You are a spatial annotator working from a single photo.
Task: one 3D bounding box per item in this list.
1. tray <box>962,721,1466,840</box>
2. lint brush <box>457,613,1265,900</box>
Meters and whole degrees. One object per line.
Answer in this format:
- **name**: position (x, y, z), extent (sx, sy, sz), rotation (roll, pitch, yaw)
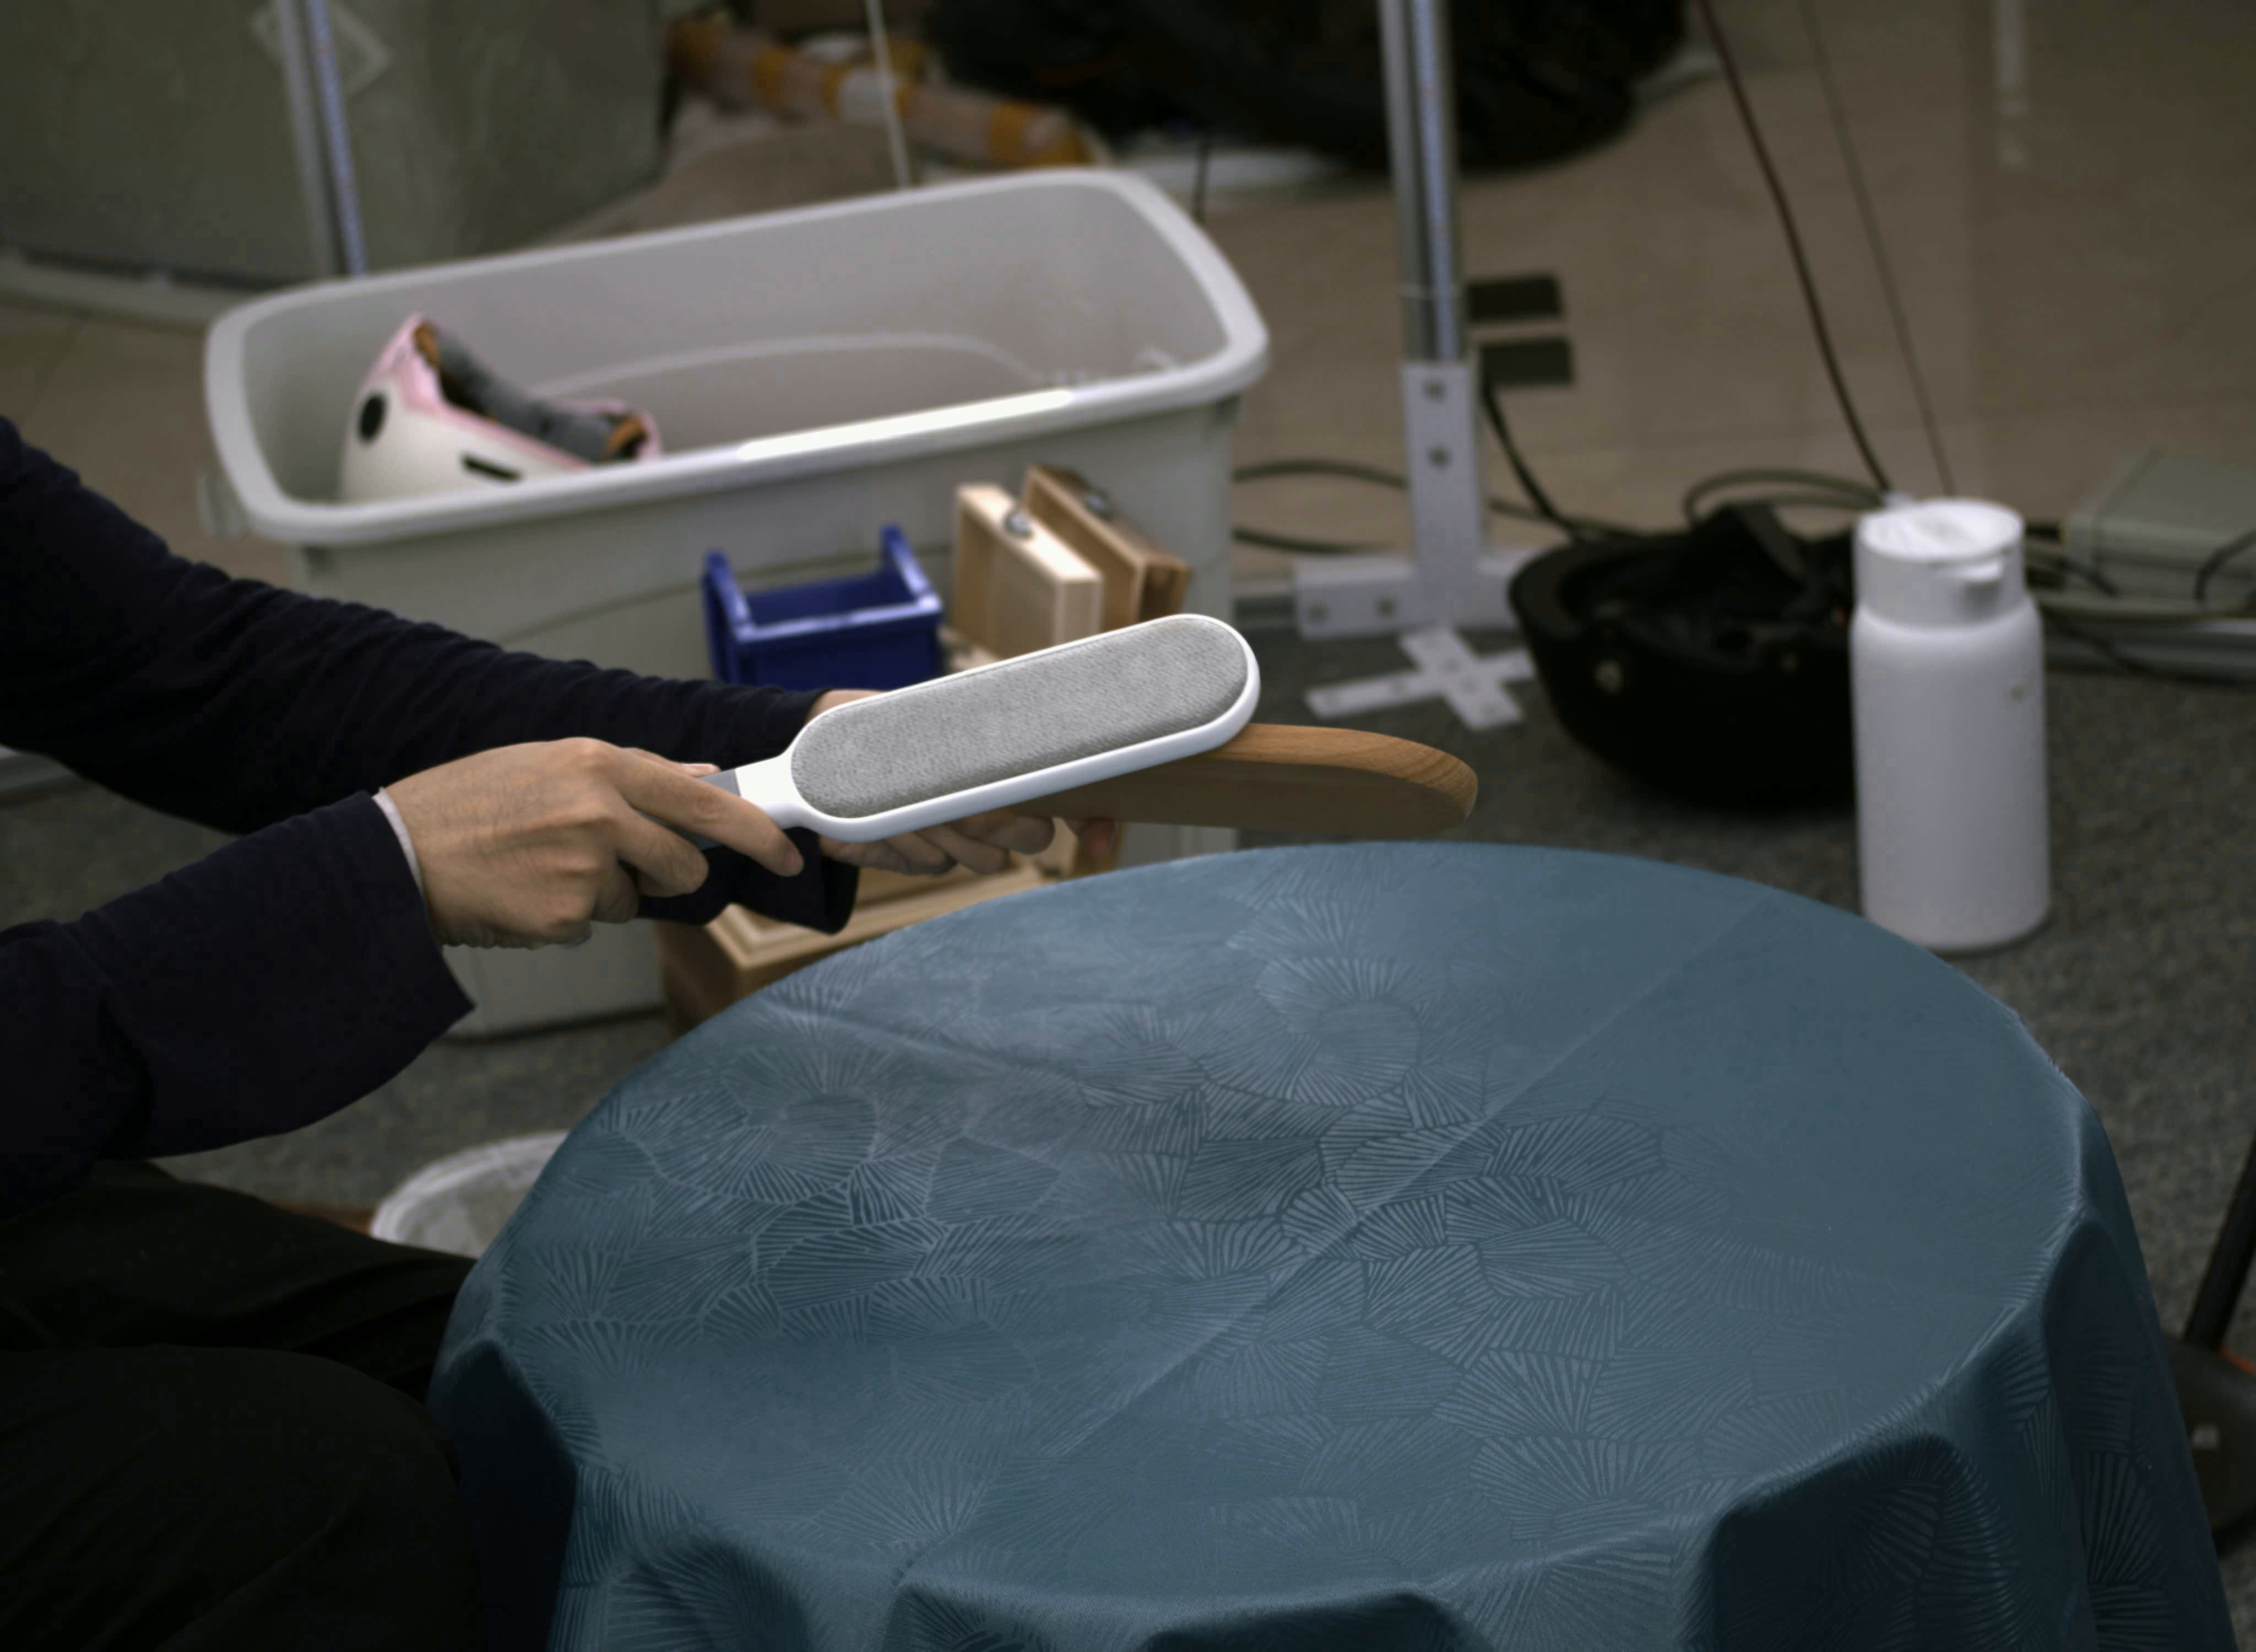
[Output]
- **tray**: position (0.013, -0.020, 2.148), extent (0.230, 0.103, 0.020), rotation (3, 72, 11)
- **lint brush**: position (-0.099, -0.022, 2.095), extent (0.308, 0.021, 0.059), rotation (-14, 63, 0)
